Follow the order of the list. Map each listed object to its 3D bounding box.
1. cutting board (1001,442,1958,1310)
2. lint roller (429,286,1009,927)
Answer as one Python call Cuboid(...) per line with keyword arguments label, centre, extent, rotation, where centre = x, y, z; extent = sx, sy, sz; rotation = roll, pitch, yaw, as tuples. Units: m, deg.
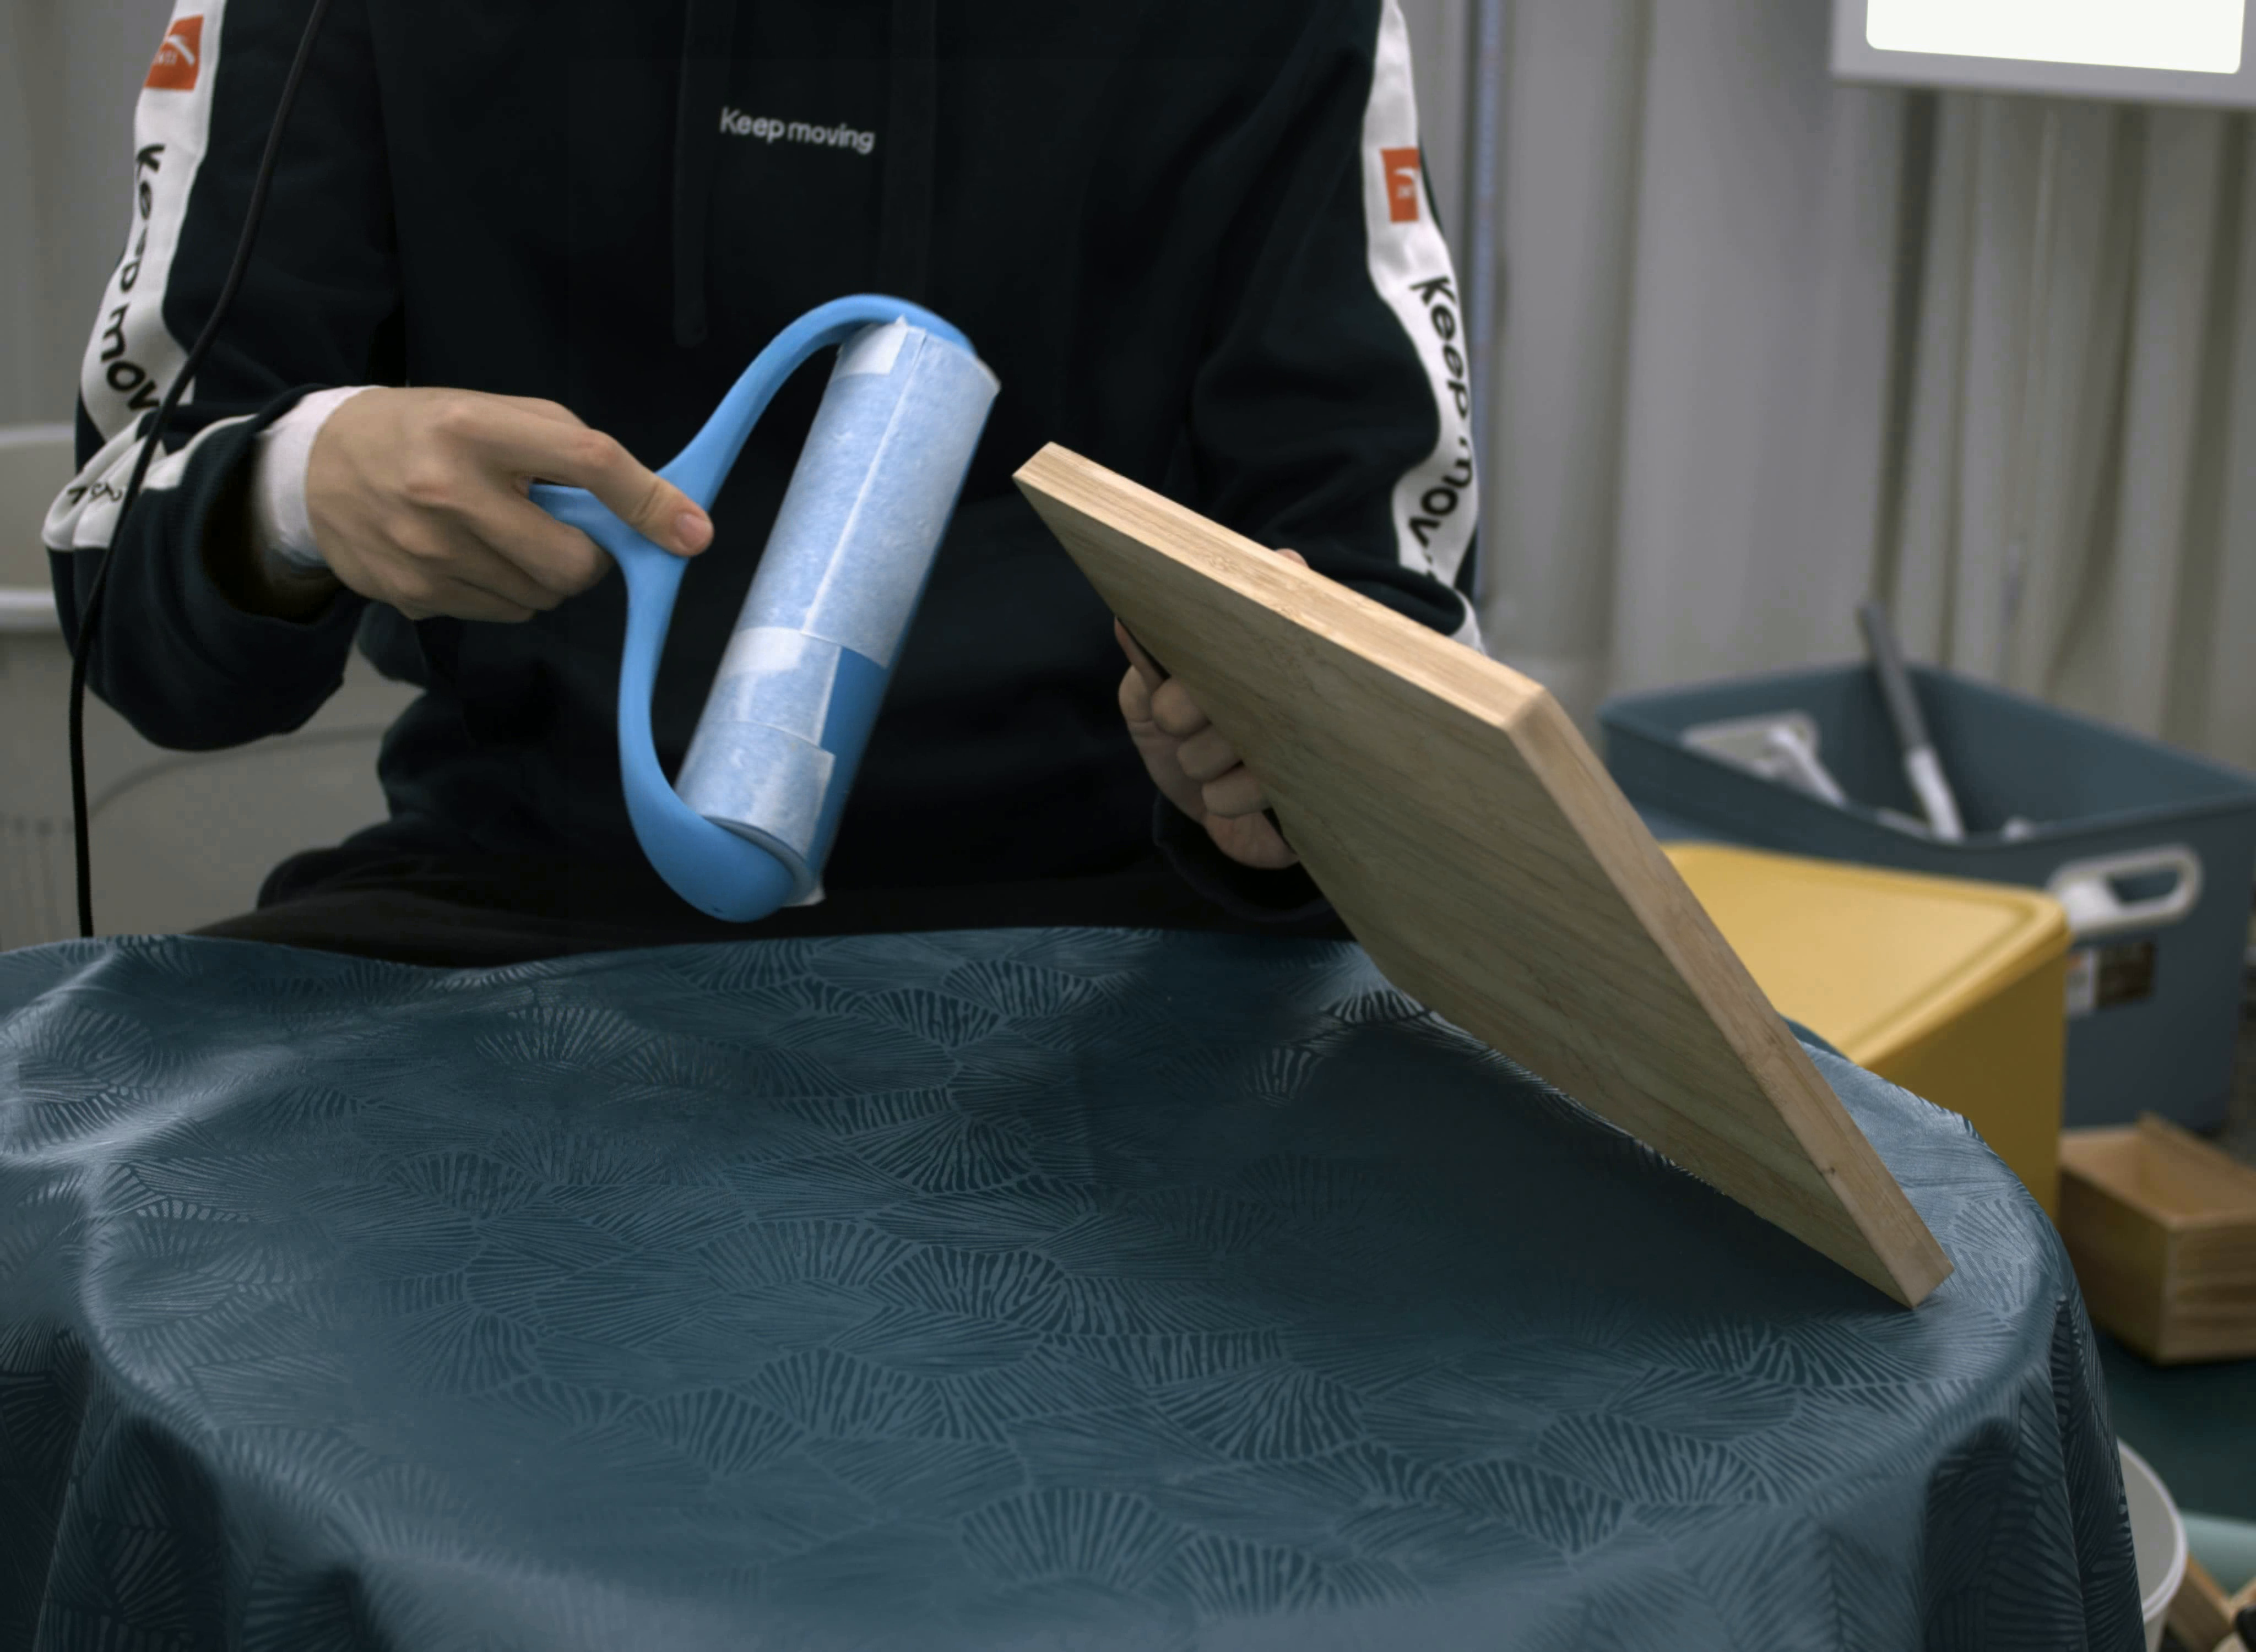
Cuboid(label="cutting board", centre=(0.099, 0.008, 1.619), extent=(0.023, 0.254, 0.344), rotation=(-42, 29, -9))
Cuboid(label="lint roller", centre=(-0.148, -0.082, 1.711), extent=(0.179, 0.228, 0.068), rotation=(11, -23, 9))
